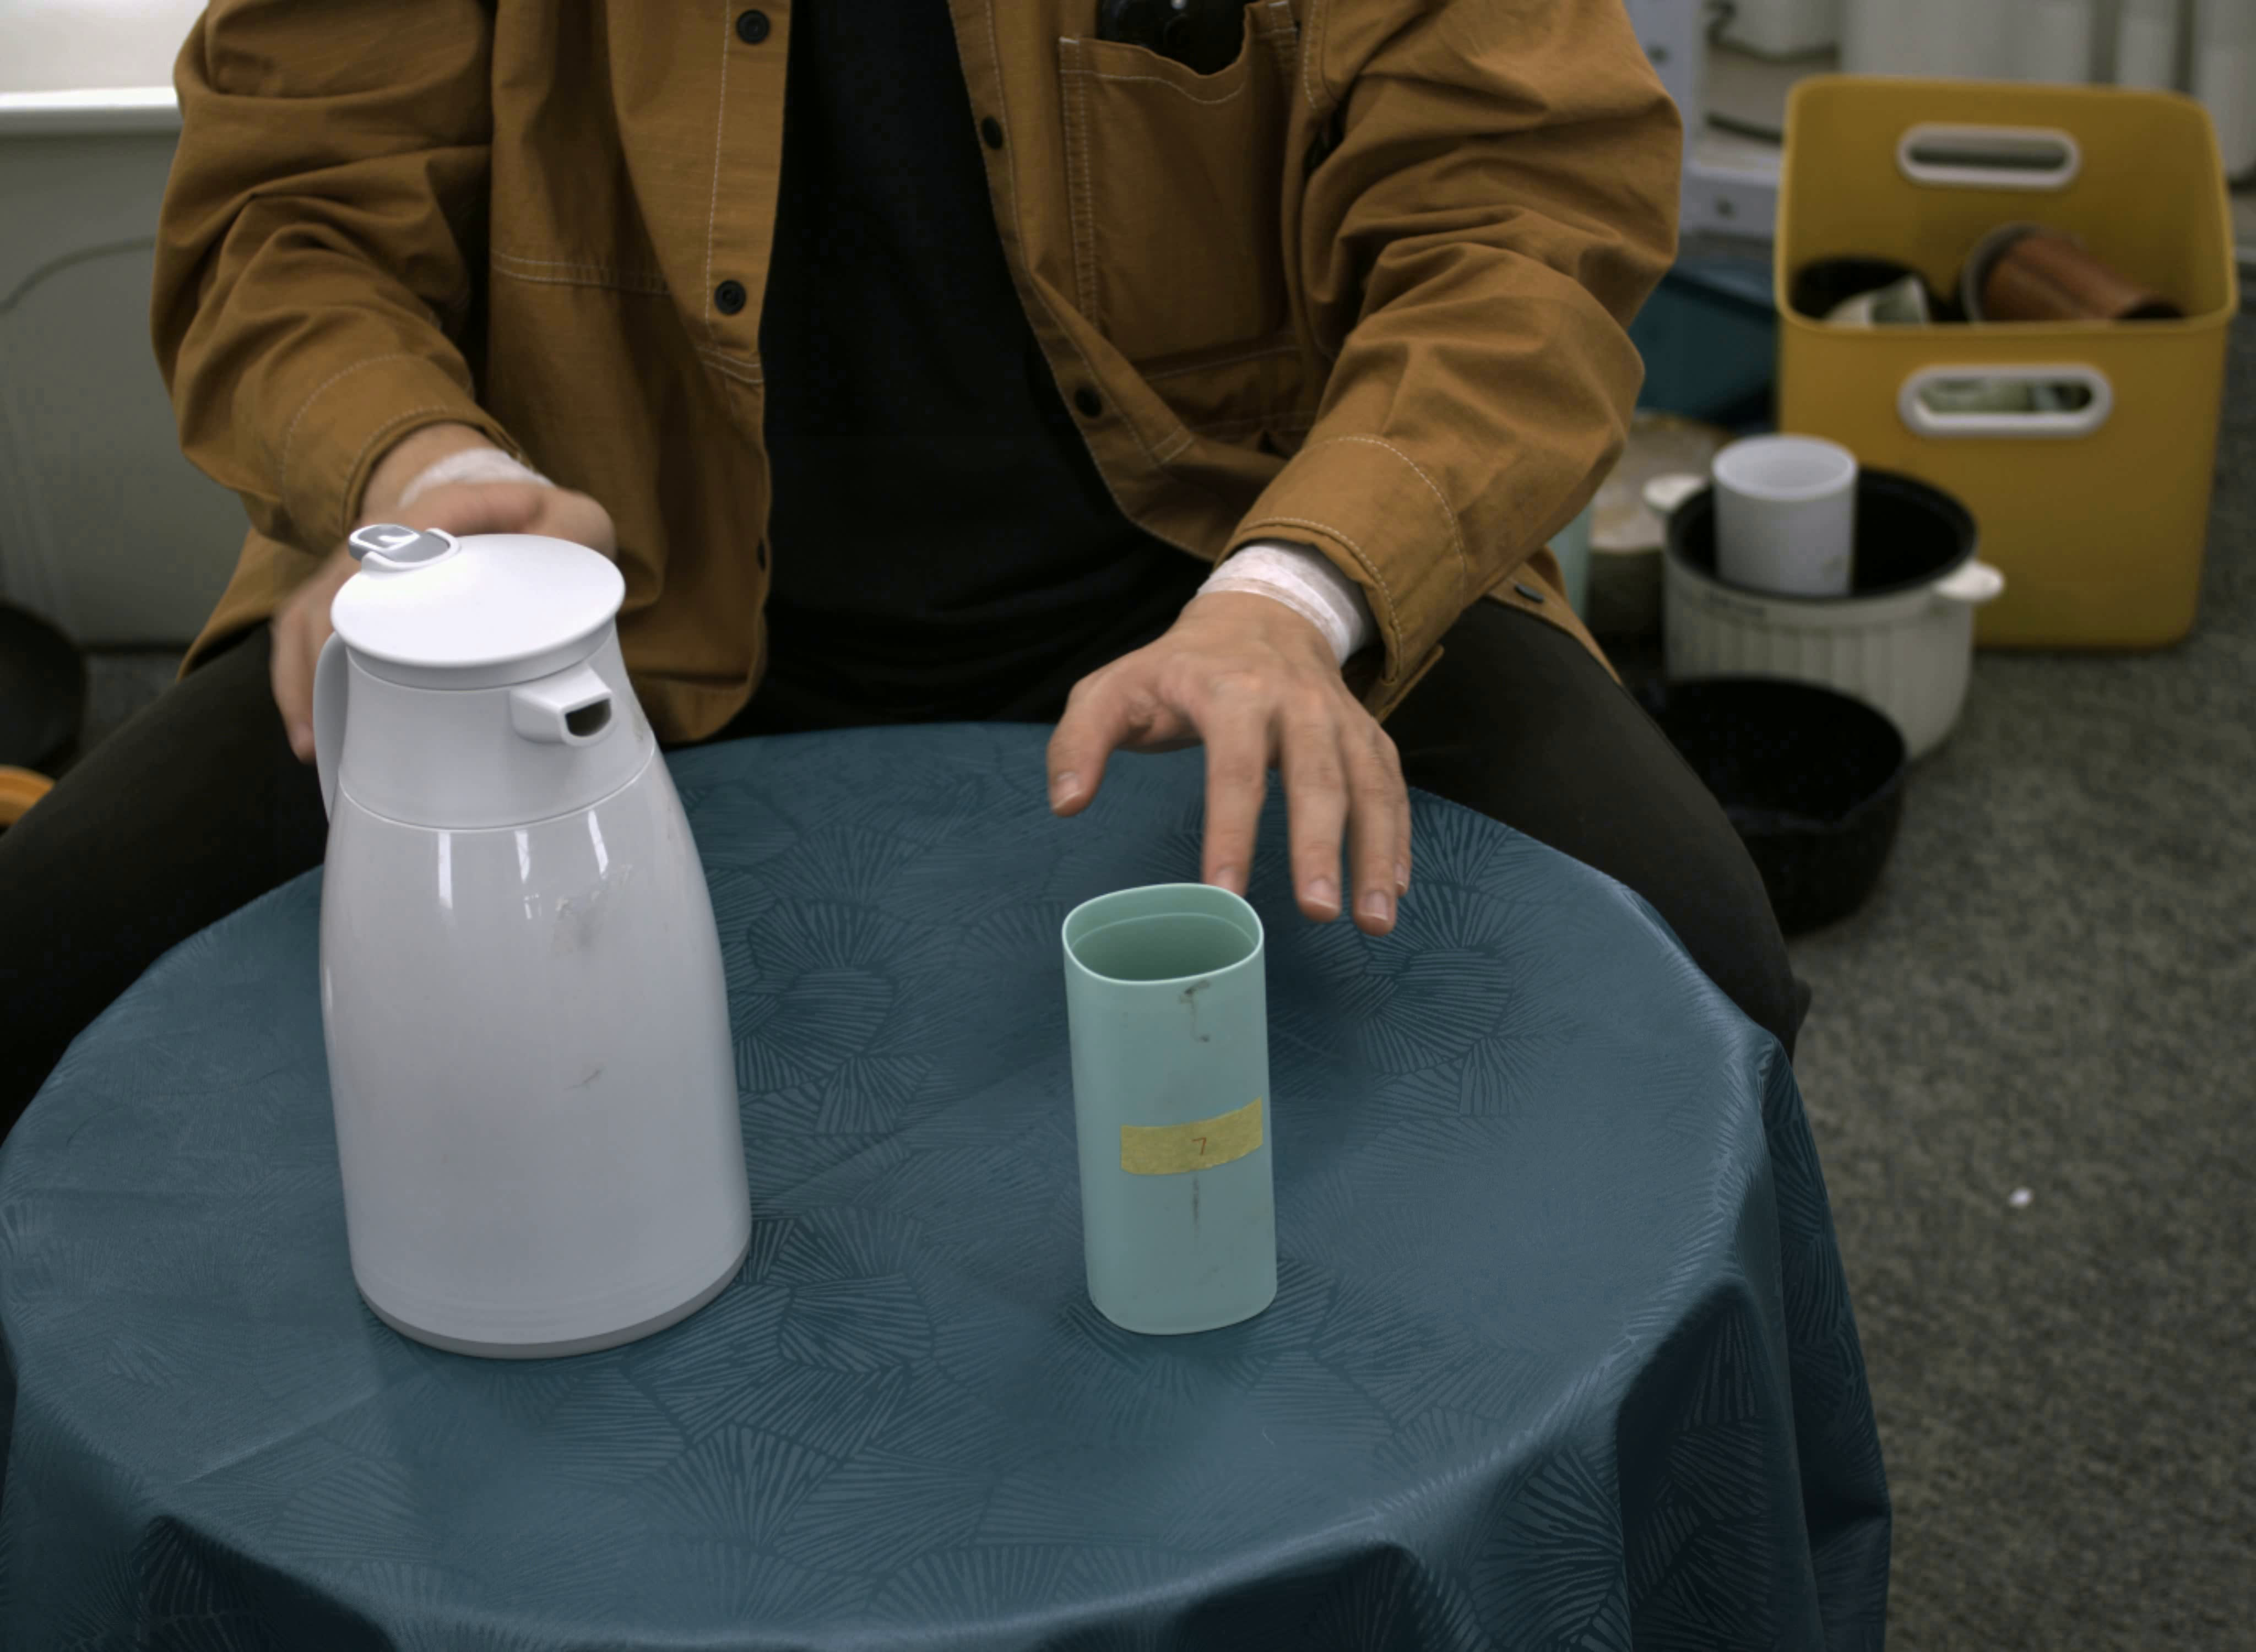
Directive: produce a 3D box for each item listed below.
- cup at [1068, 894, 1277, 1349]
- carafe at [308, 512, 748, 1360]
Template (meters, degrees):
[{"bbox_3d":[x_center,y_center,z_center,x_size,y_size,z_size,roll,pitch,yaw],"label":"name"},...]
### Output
[{"bbox_3d":[0.015,0.093,1.780,0.066,0.131,0.068,-2,26,1],"label":"cup"},{"bbox_3d":[-0.208,0.025,1.801,0.134,0.246,0.168,-22,31,-33],"label":"carafe"}]
